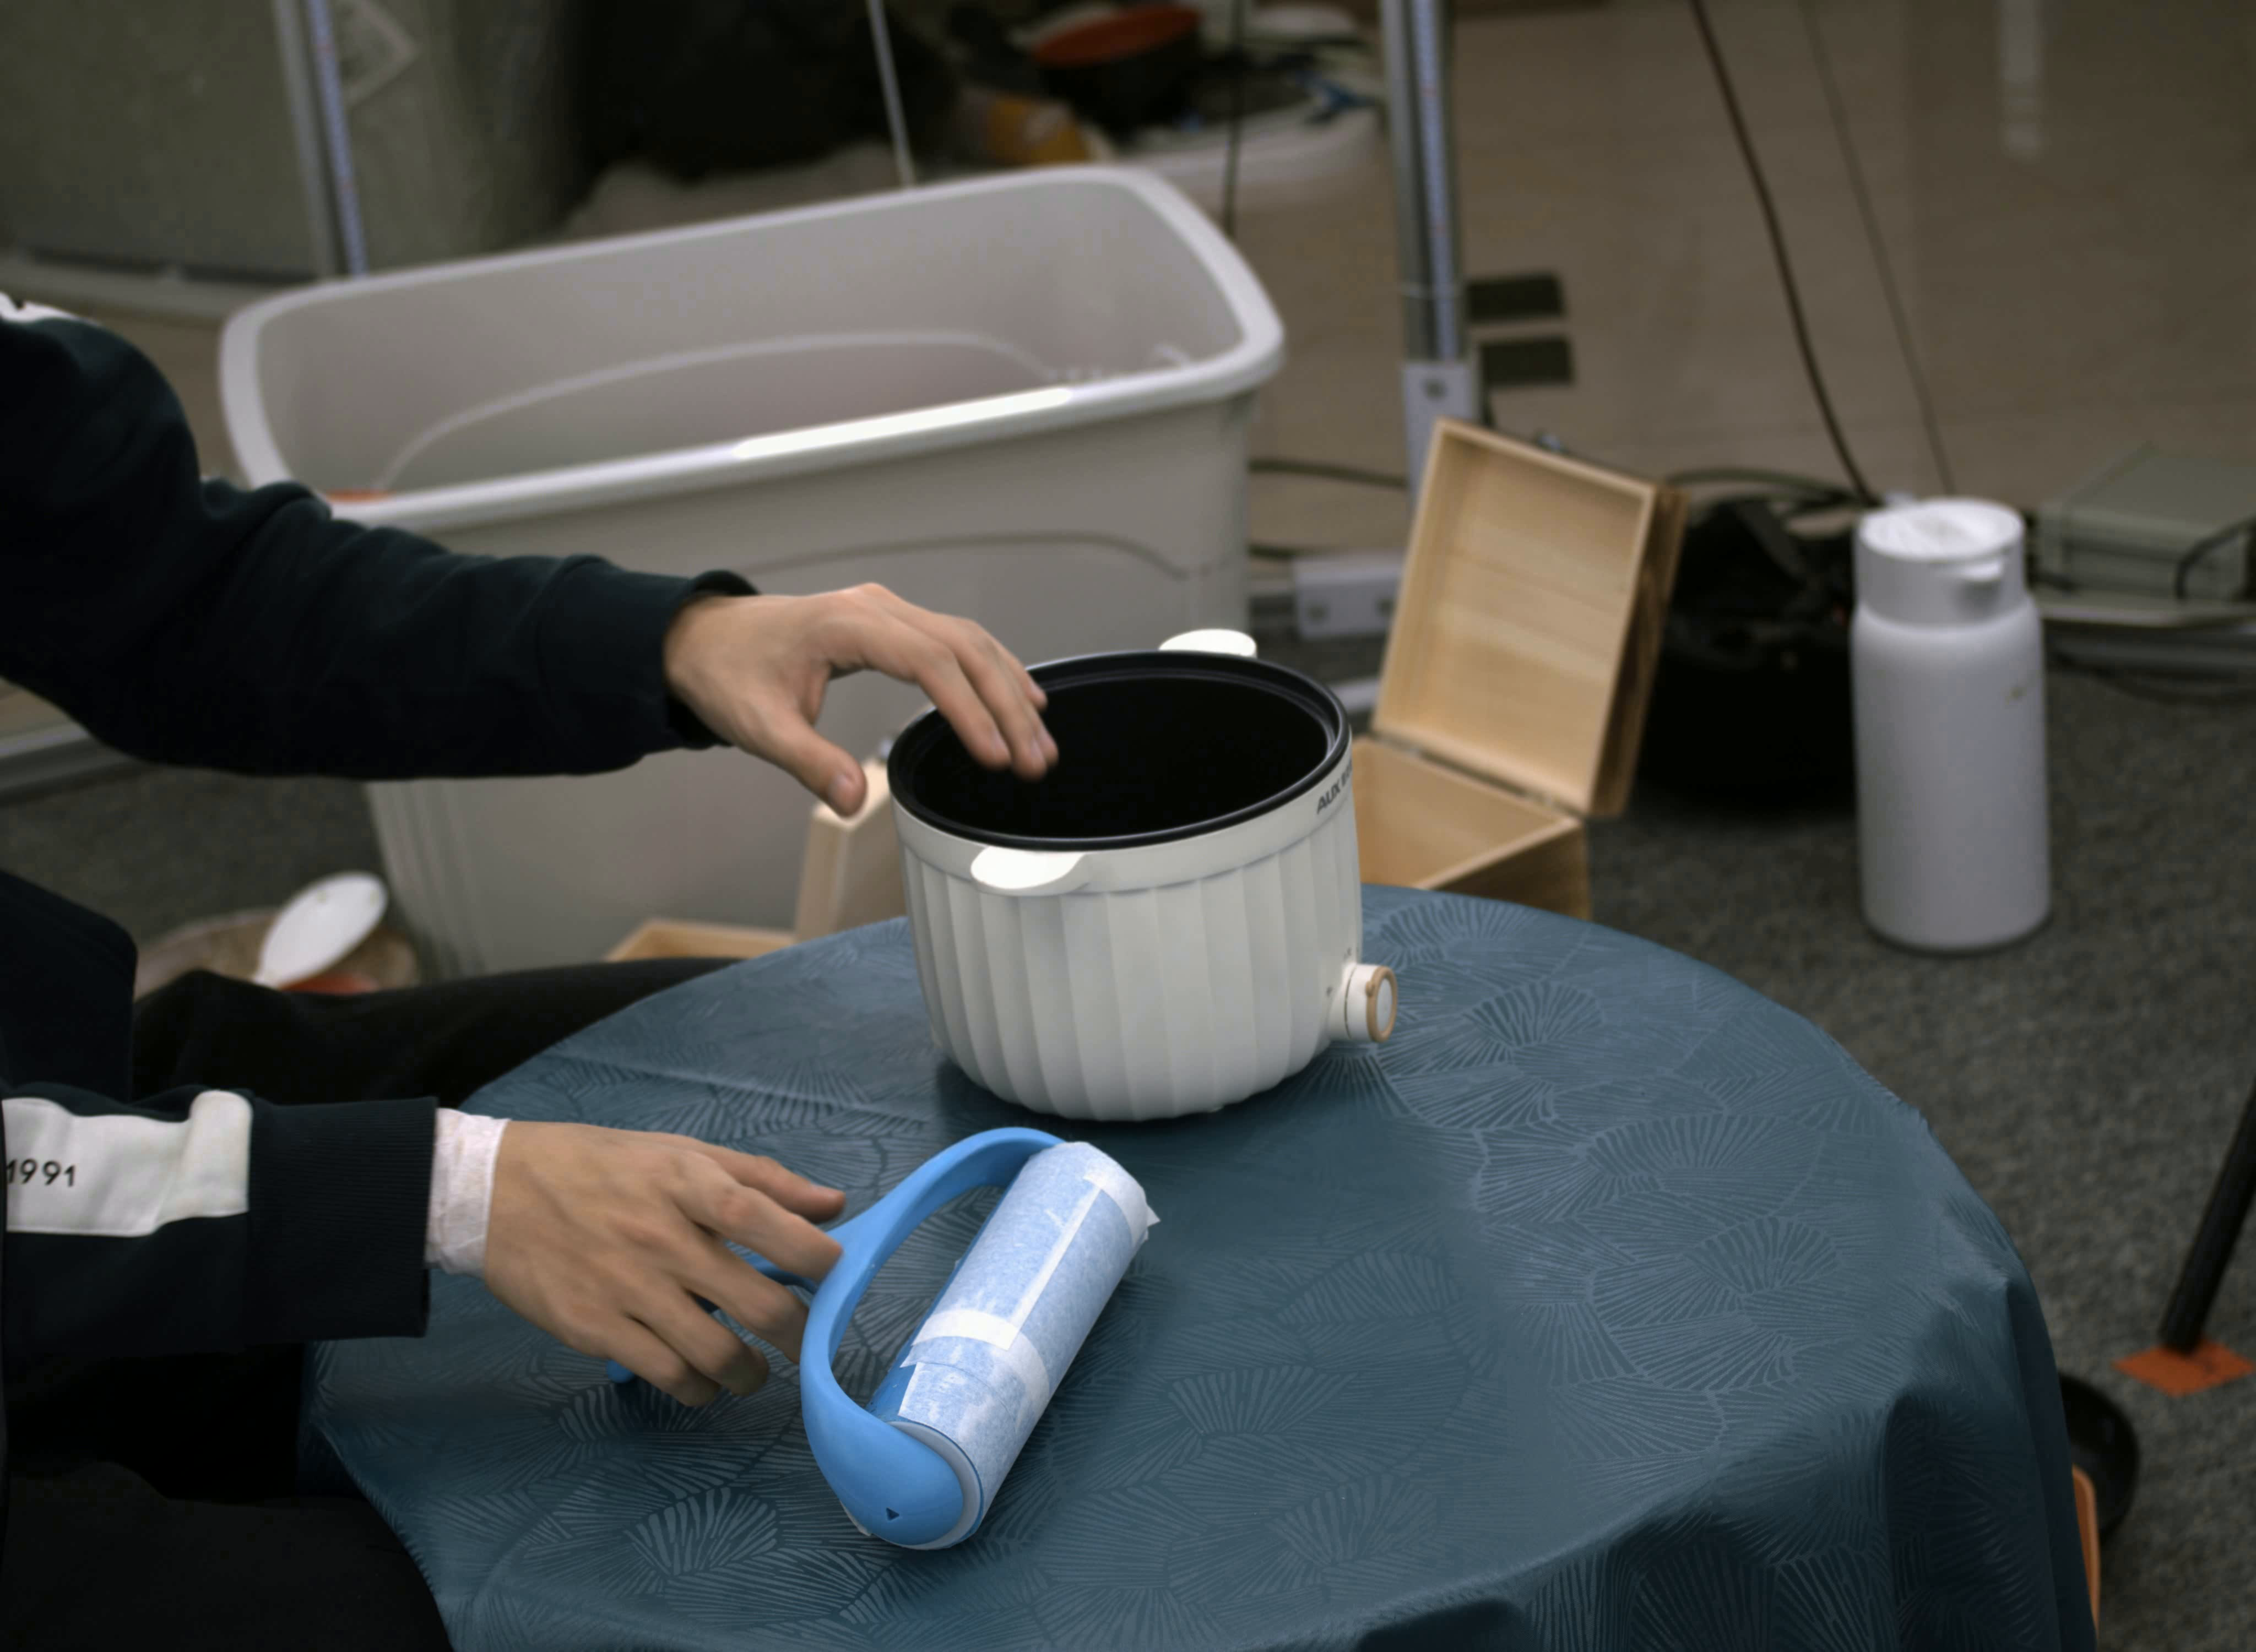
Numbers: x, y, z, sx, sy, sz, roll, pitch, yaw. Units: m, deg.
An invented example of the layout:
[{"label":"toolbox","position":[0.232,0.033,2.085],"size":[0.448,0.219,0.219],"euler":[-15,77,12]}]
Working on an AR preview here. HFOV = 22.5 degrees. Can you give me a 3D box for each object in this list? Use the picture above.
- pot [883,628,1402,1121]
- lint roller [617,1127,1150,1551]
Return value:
[{"label":"pot","position":[0.008,0.027,2.216],"size":[0.190,0.145,0.237],"euler":[1,27,22]},{"label":"lint roller","position":[-0.101,0.179,2.016],"size":[0.180,0.069,0.225],"euler":[2,28,15]}]
